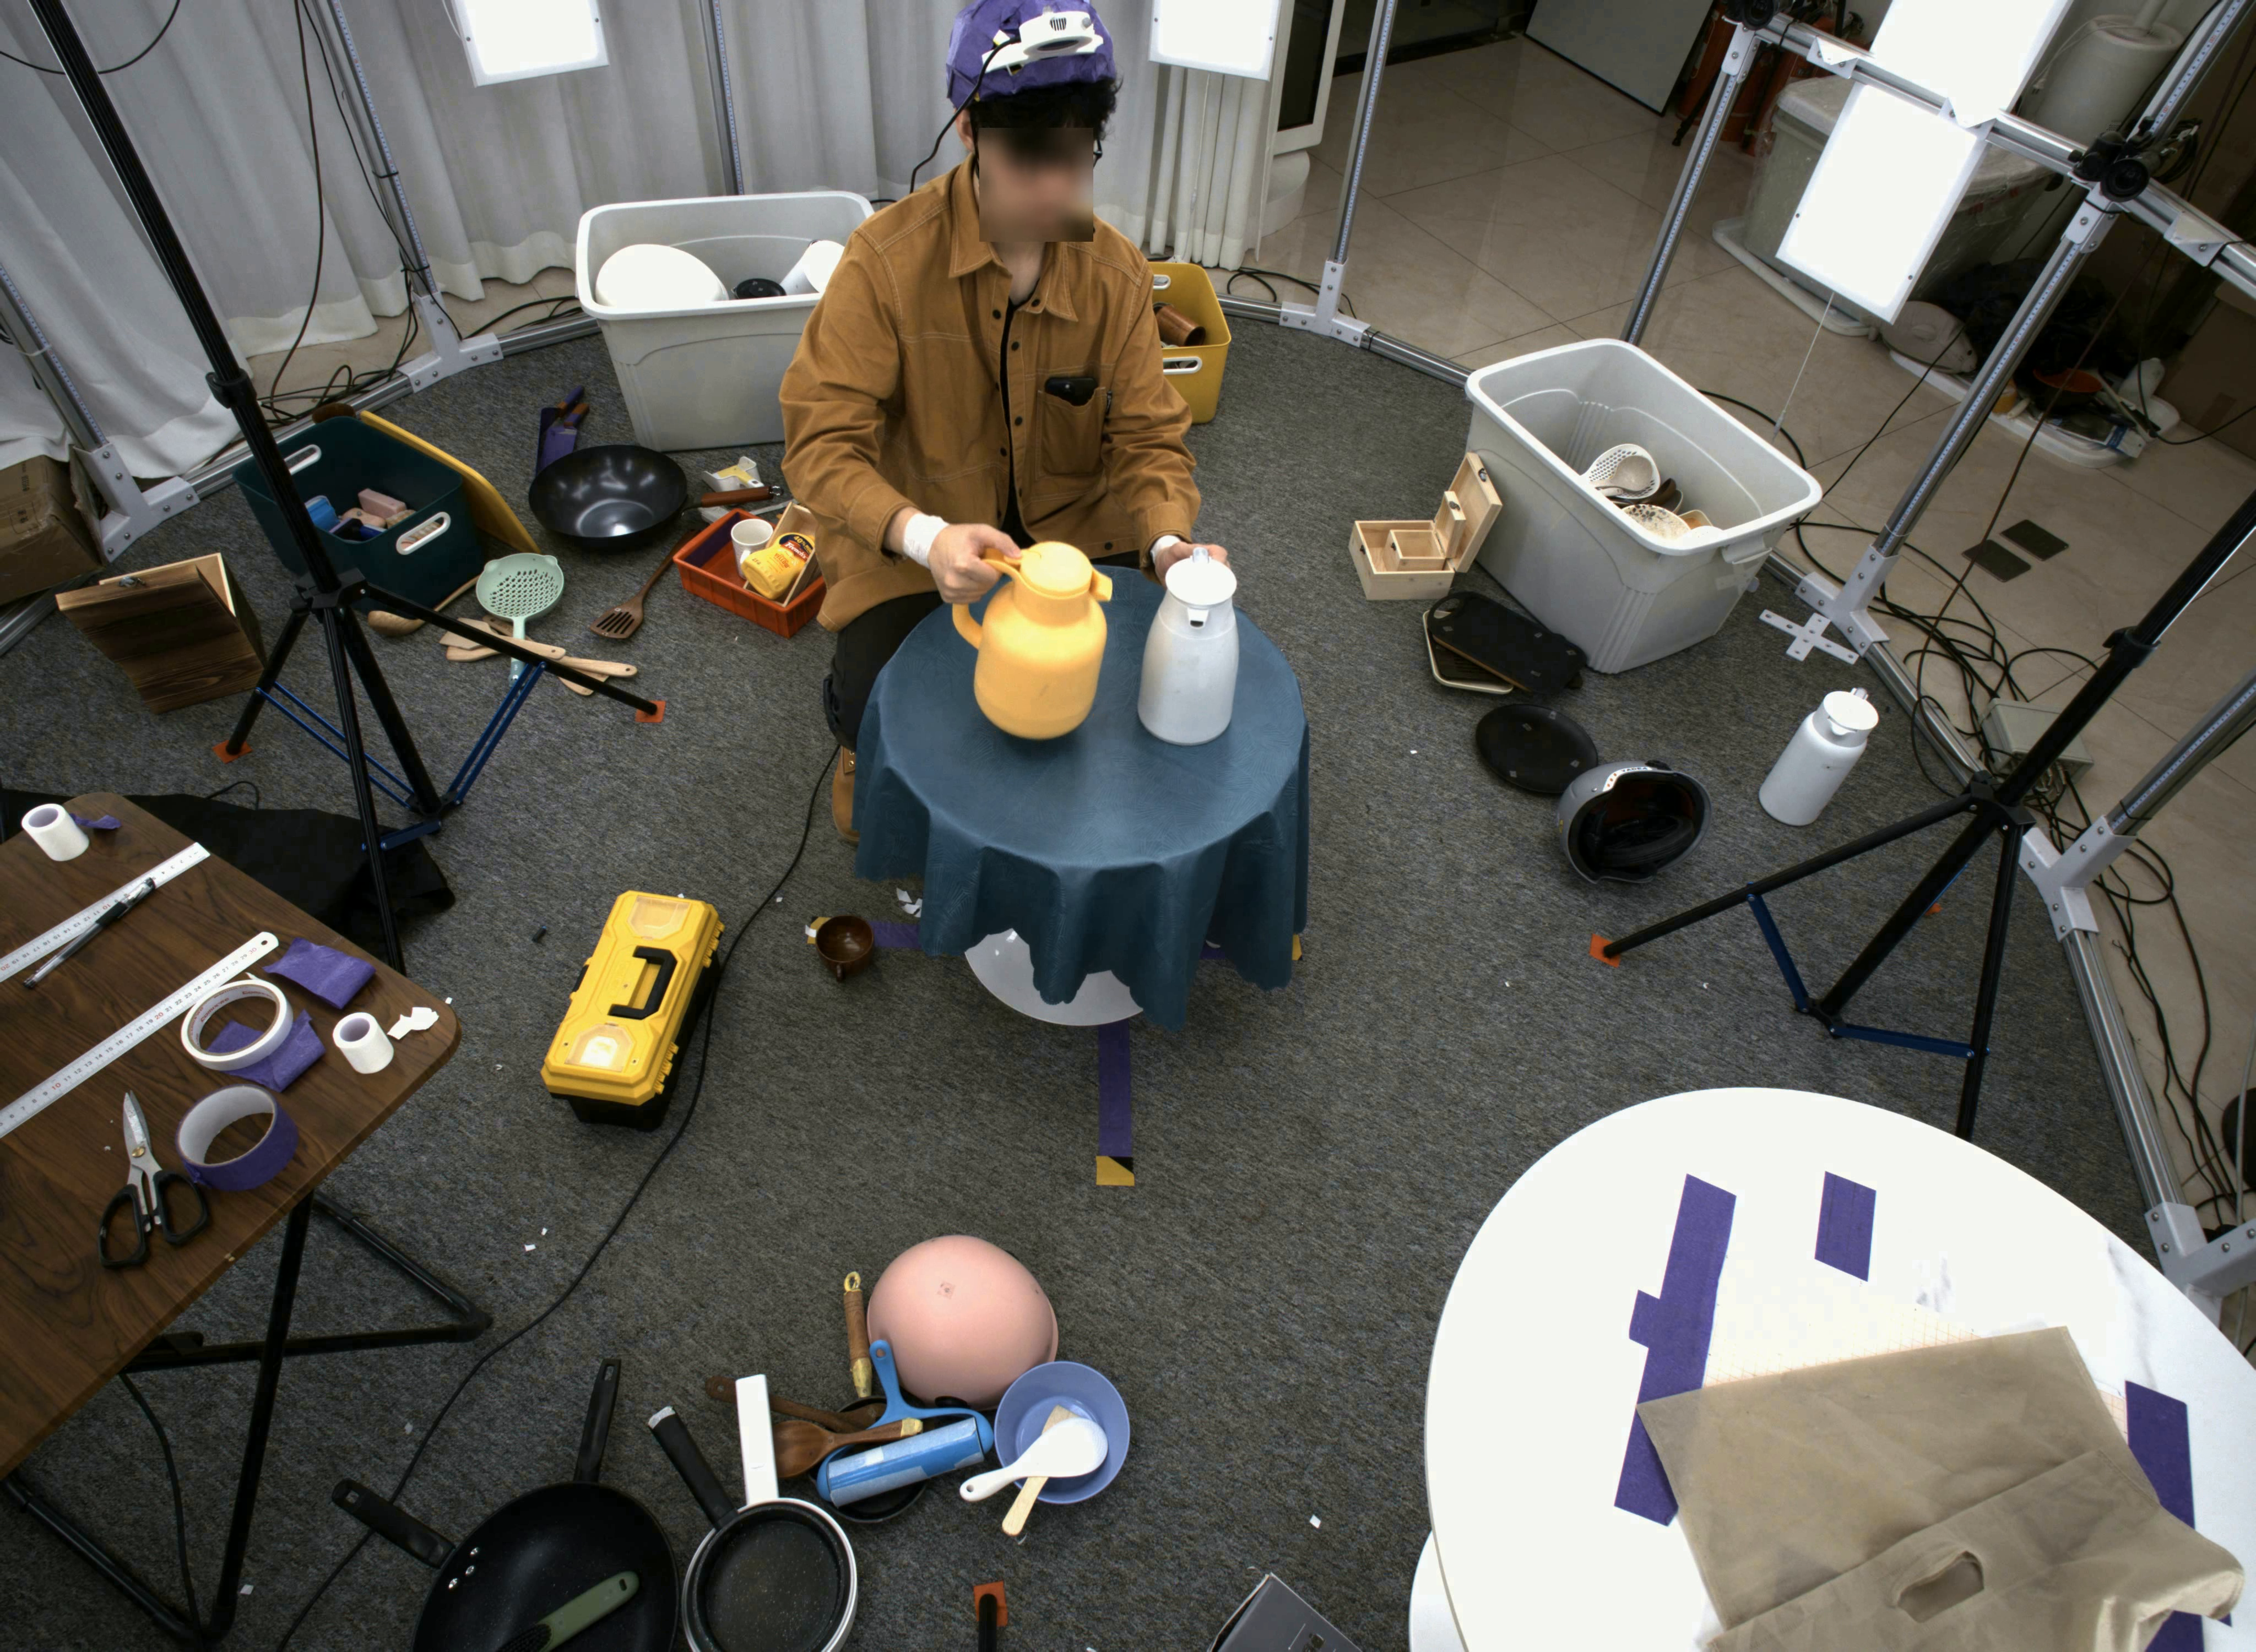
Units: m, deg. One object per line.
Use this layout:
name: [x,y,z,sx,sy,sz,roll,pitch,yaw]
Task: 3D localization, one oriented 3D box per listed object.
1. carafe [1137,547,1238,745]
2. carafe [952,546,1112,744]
carafe: [0.086,-0.255,1.735,0.132,0.242,0.172,5,49,1]
carafe: [-0.128,-0.245,1.660,0.202,0.254,0.167,18,48,2]
